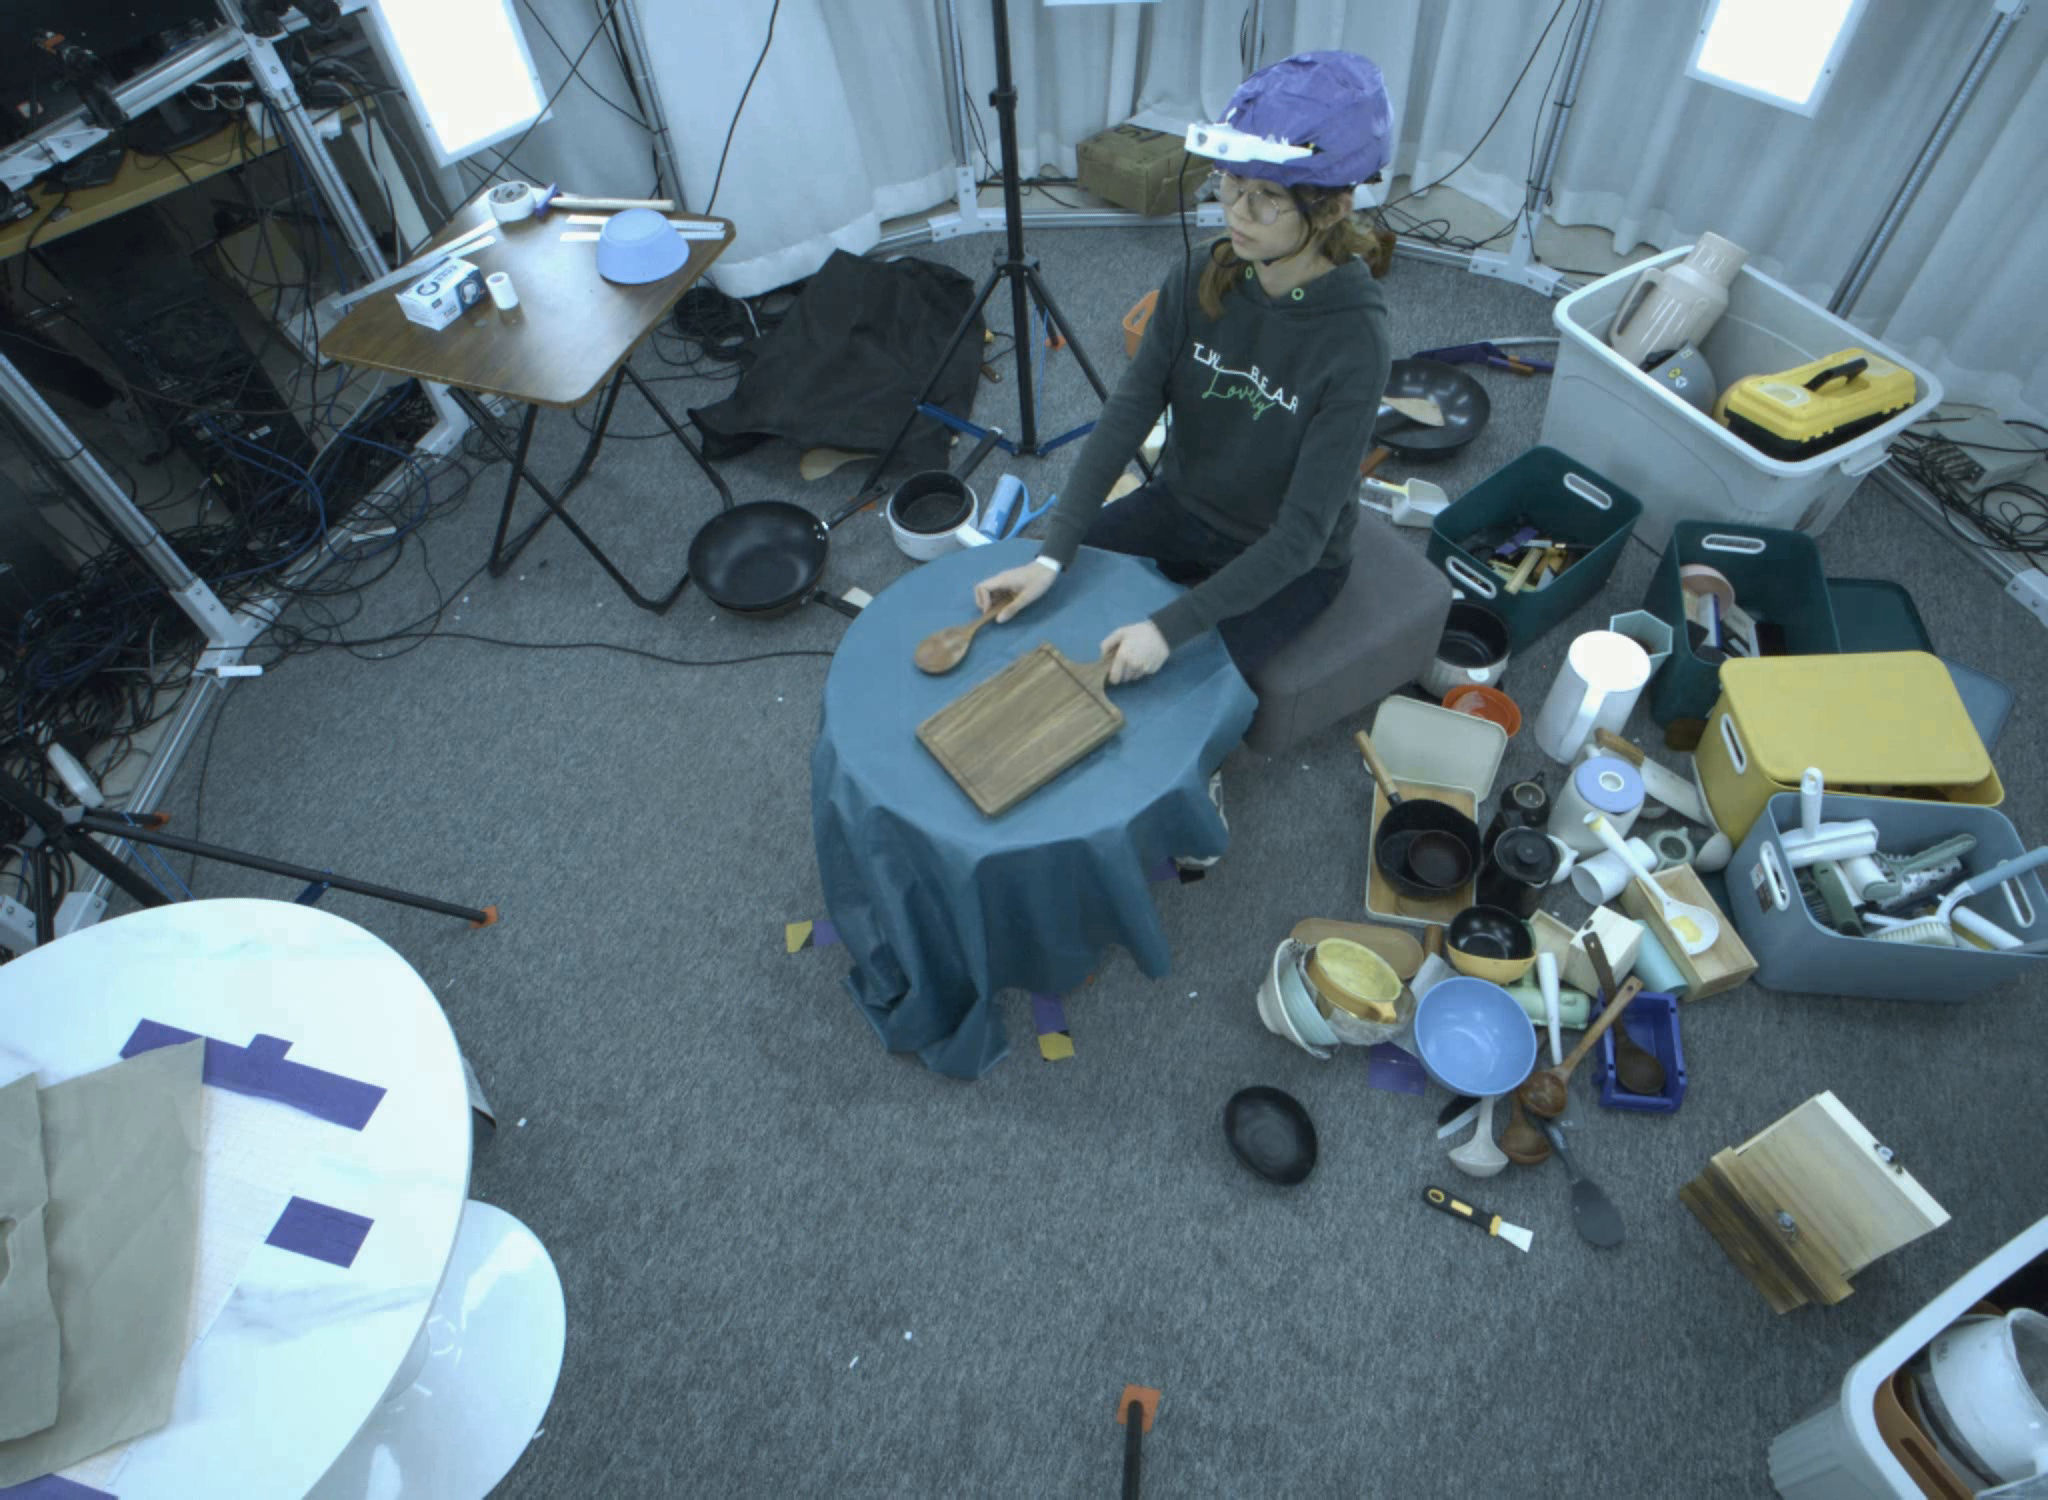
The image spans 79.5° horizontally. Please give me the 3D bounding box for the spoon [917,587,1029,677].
[{"bbox_3d":[-0.076,-0.184,1.910,0.217,0.017,0.074,-40,61,-16],"label":"spoon"}]

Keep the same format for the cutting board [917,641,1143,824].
[{"bbox_3d":[0.036,-0.055,1.806,0.354,0.023,0.197,-35,60,-15],"label":"cutting board"}]
